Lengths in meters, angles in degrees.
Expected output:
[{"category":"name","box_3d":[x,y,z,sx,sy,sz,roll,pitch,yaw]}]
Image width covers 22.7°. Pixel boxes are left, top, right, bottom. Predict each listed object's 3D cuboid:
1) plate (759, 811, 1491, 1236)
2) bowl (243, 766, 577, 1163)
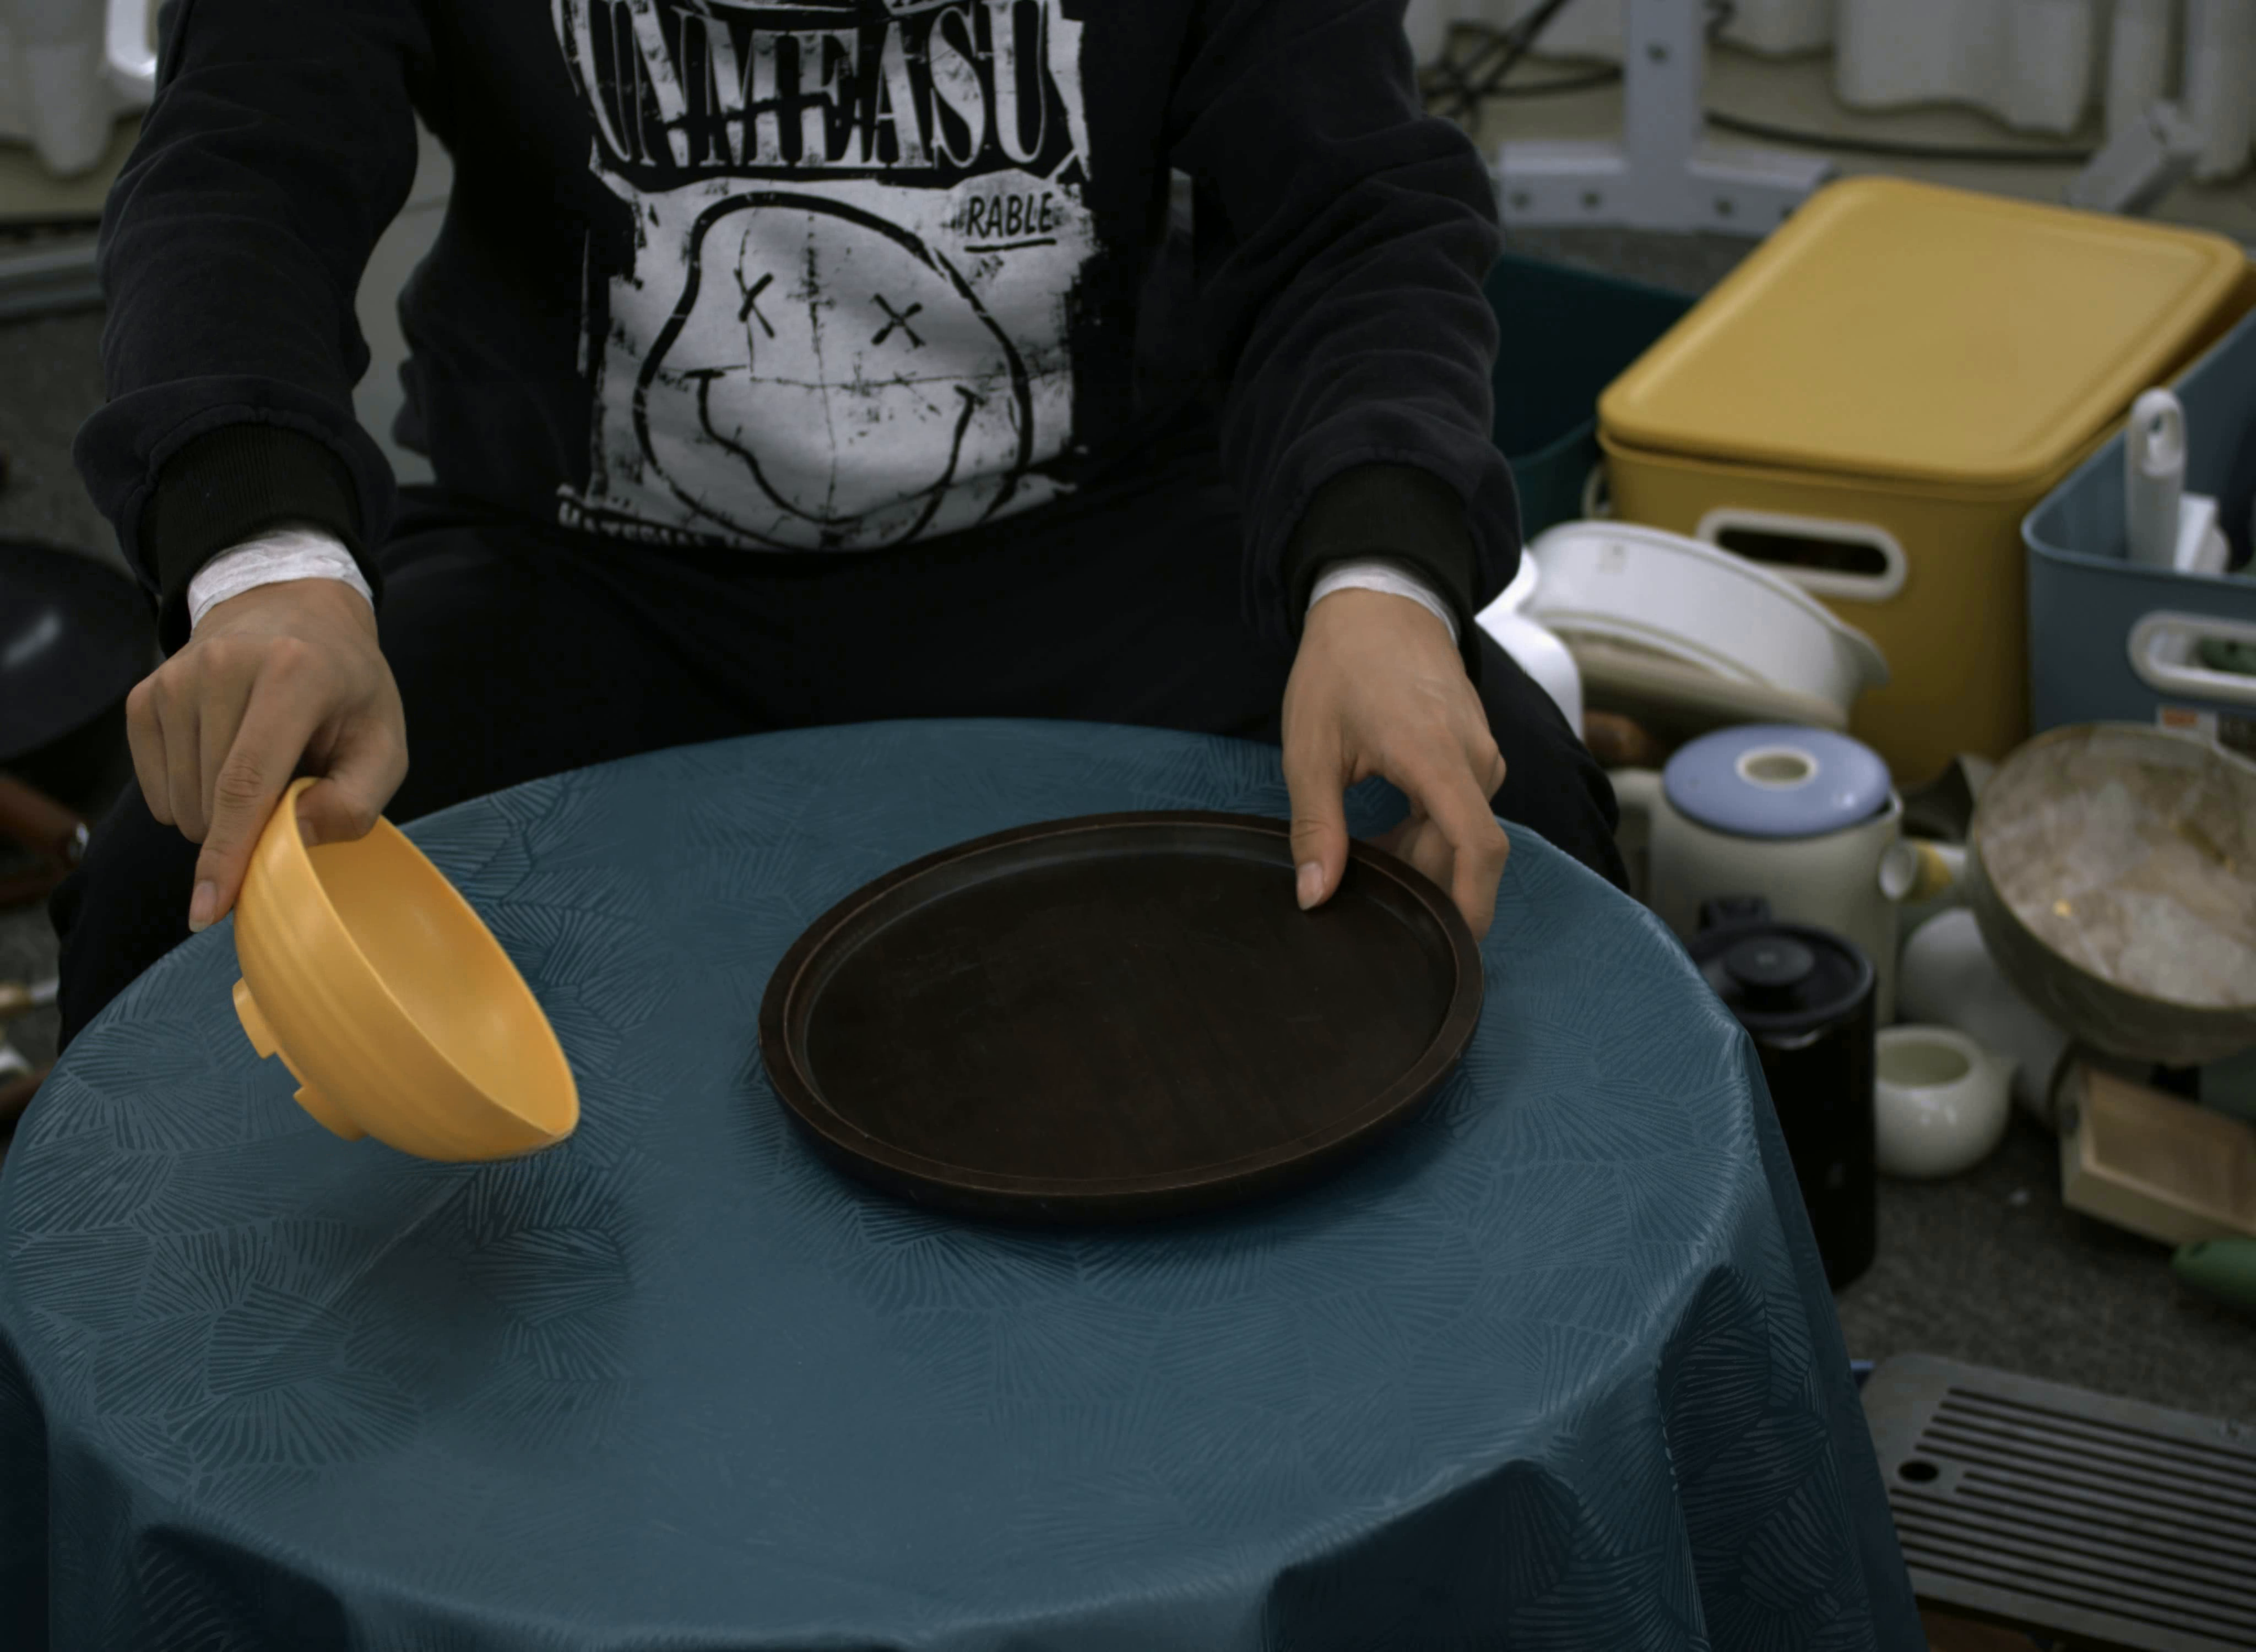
[{"category":"plate","box_3d":[-0.001,0.066,1.935,0.253,0.029,0.259,-5,28,3]},{"category":"bowl","box_3d":[-0.243,0.057,1.815,0.060,0.144,0.147,-34,27,8]}]
